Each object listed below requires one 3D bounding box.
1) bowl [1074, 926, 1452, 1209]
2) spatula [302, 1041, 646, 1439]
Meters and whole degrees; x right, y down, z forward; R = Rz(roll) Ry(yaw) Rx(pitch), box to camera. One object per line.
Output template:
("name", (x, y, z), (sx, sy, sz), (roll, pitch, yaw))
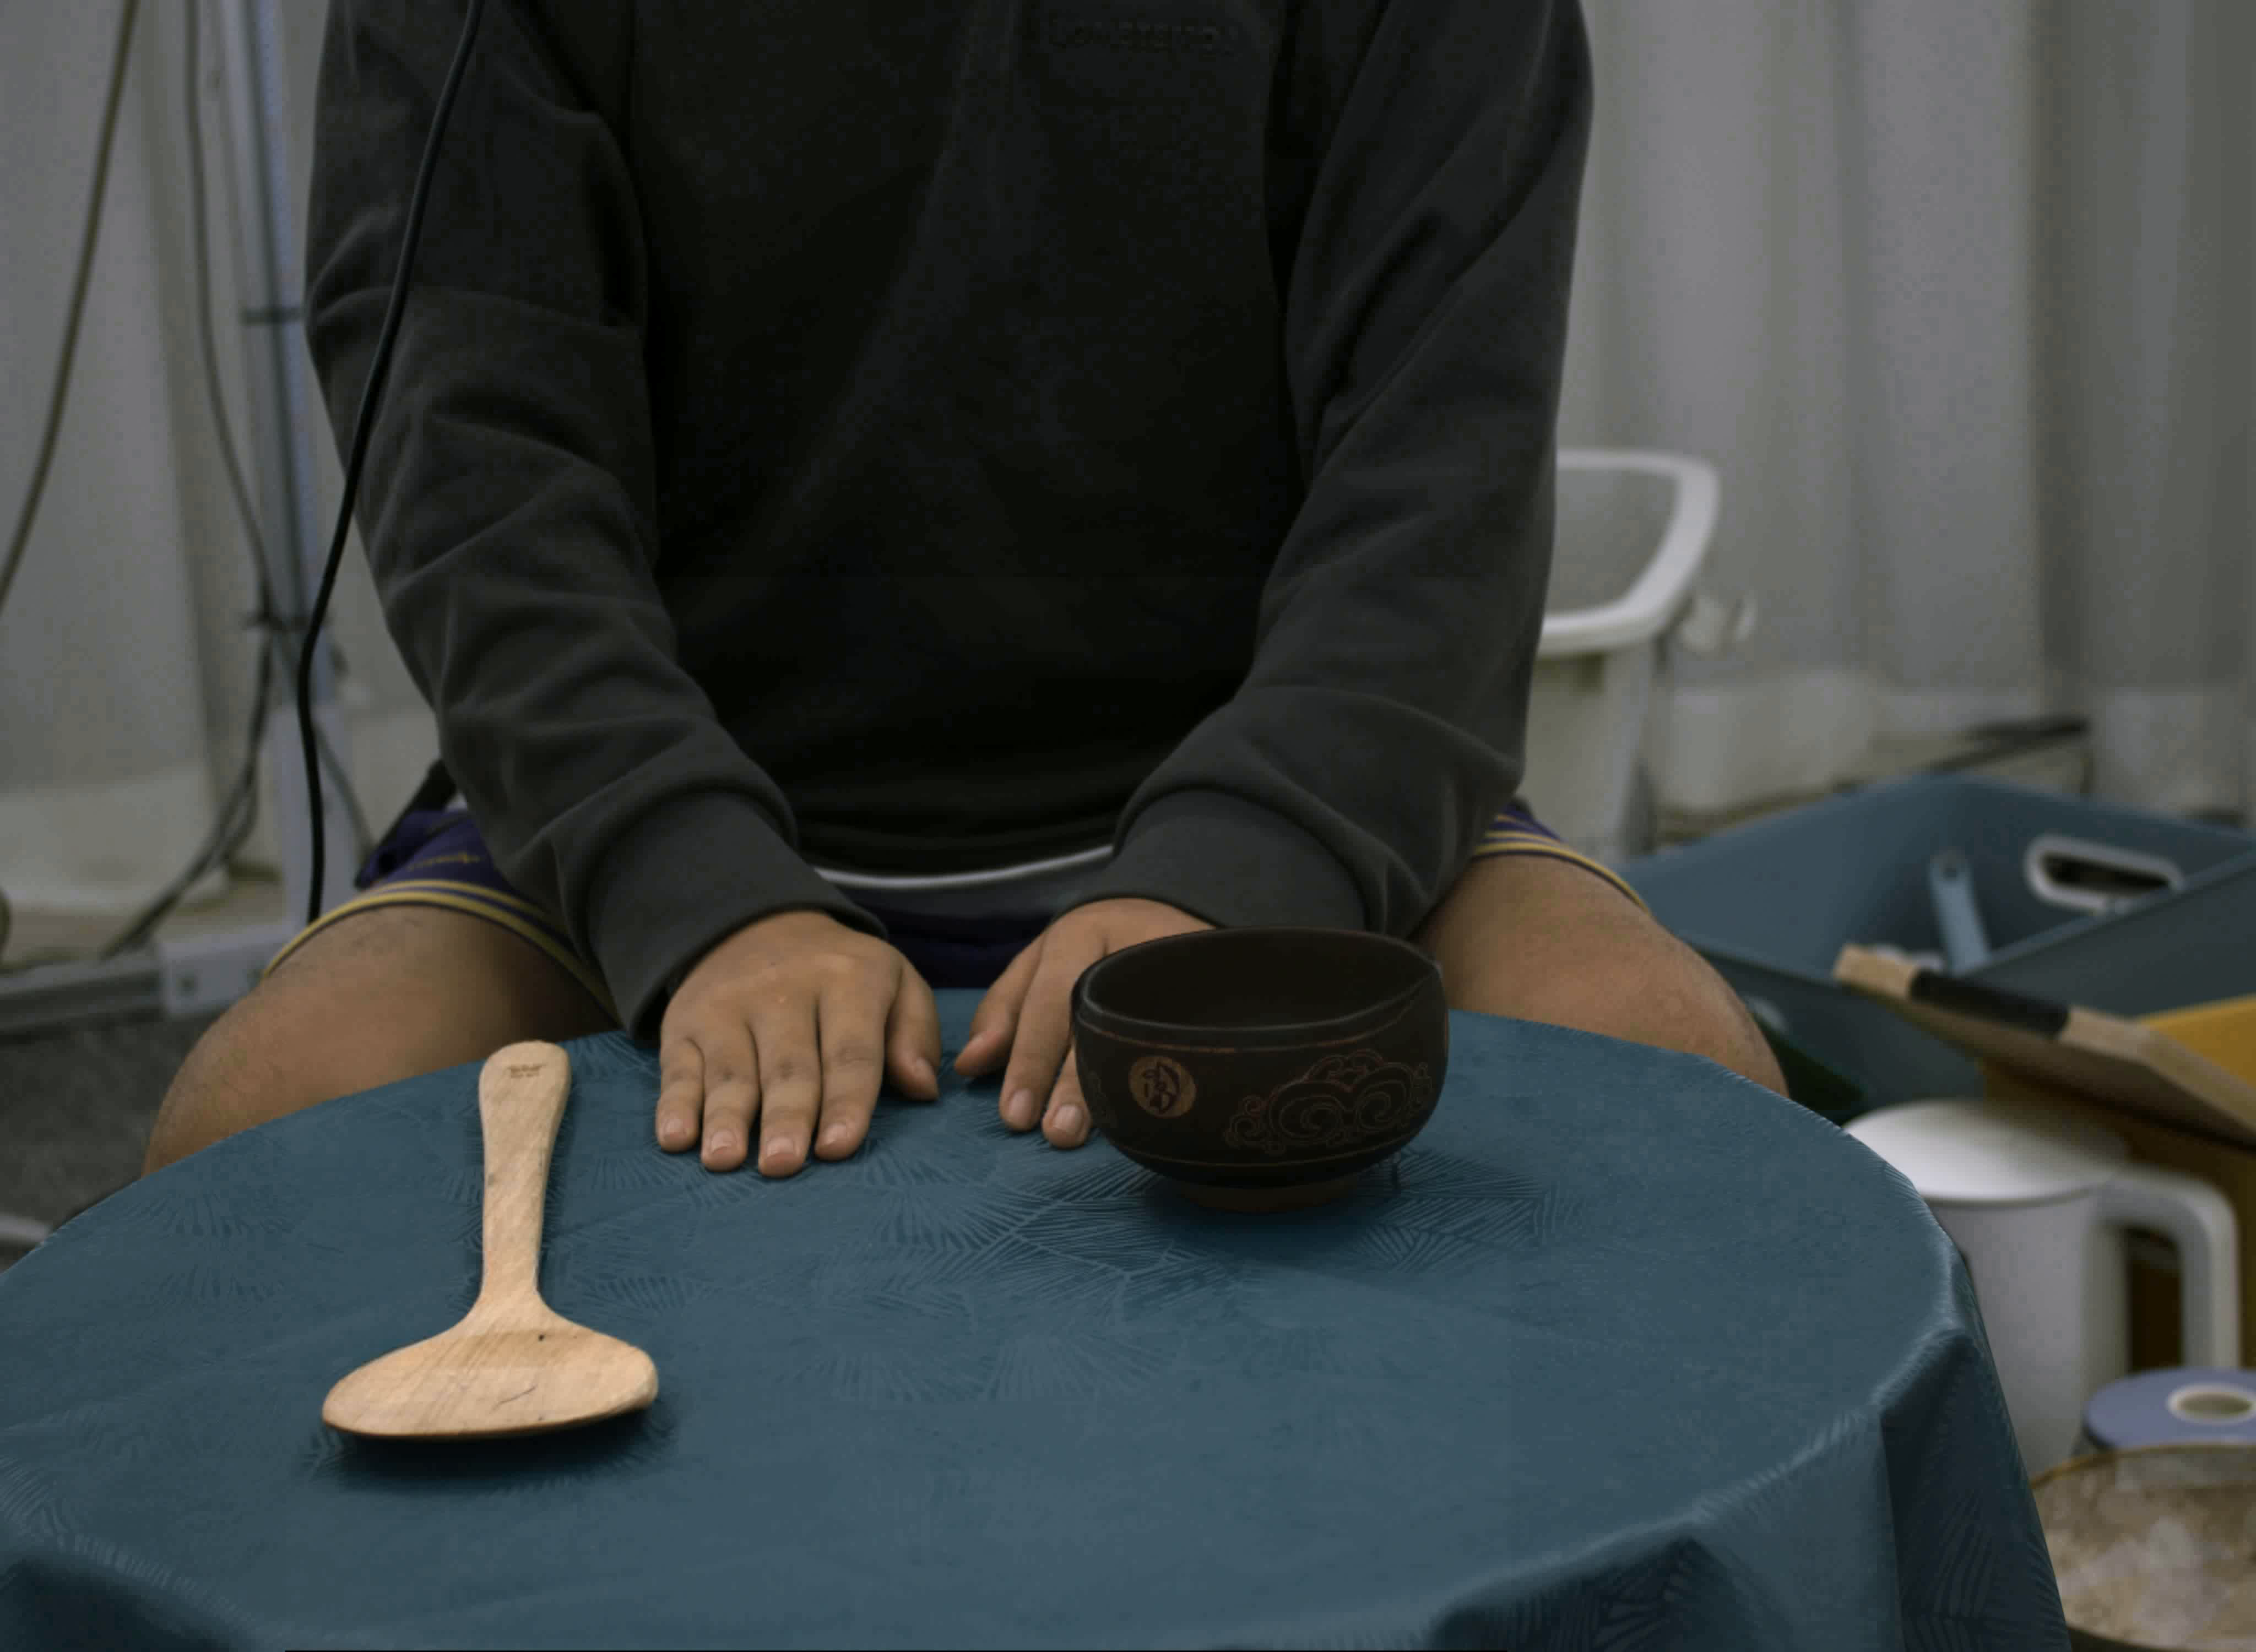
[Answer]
("bowl", (0.043, 0.079, 1.706), (0.117, 0.069, 0.119), (-3, 13, 0))
("spatula", (-0.196, 0.123, 1.690), (0.095, 0.018, 0.393), (-2, 15, -4))
